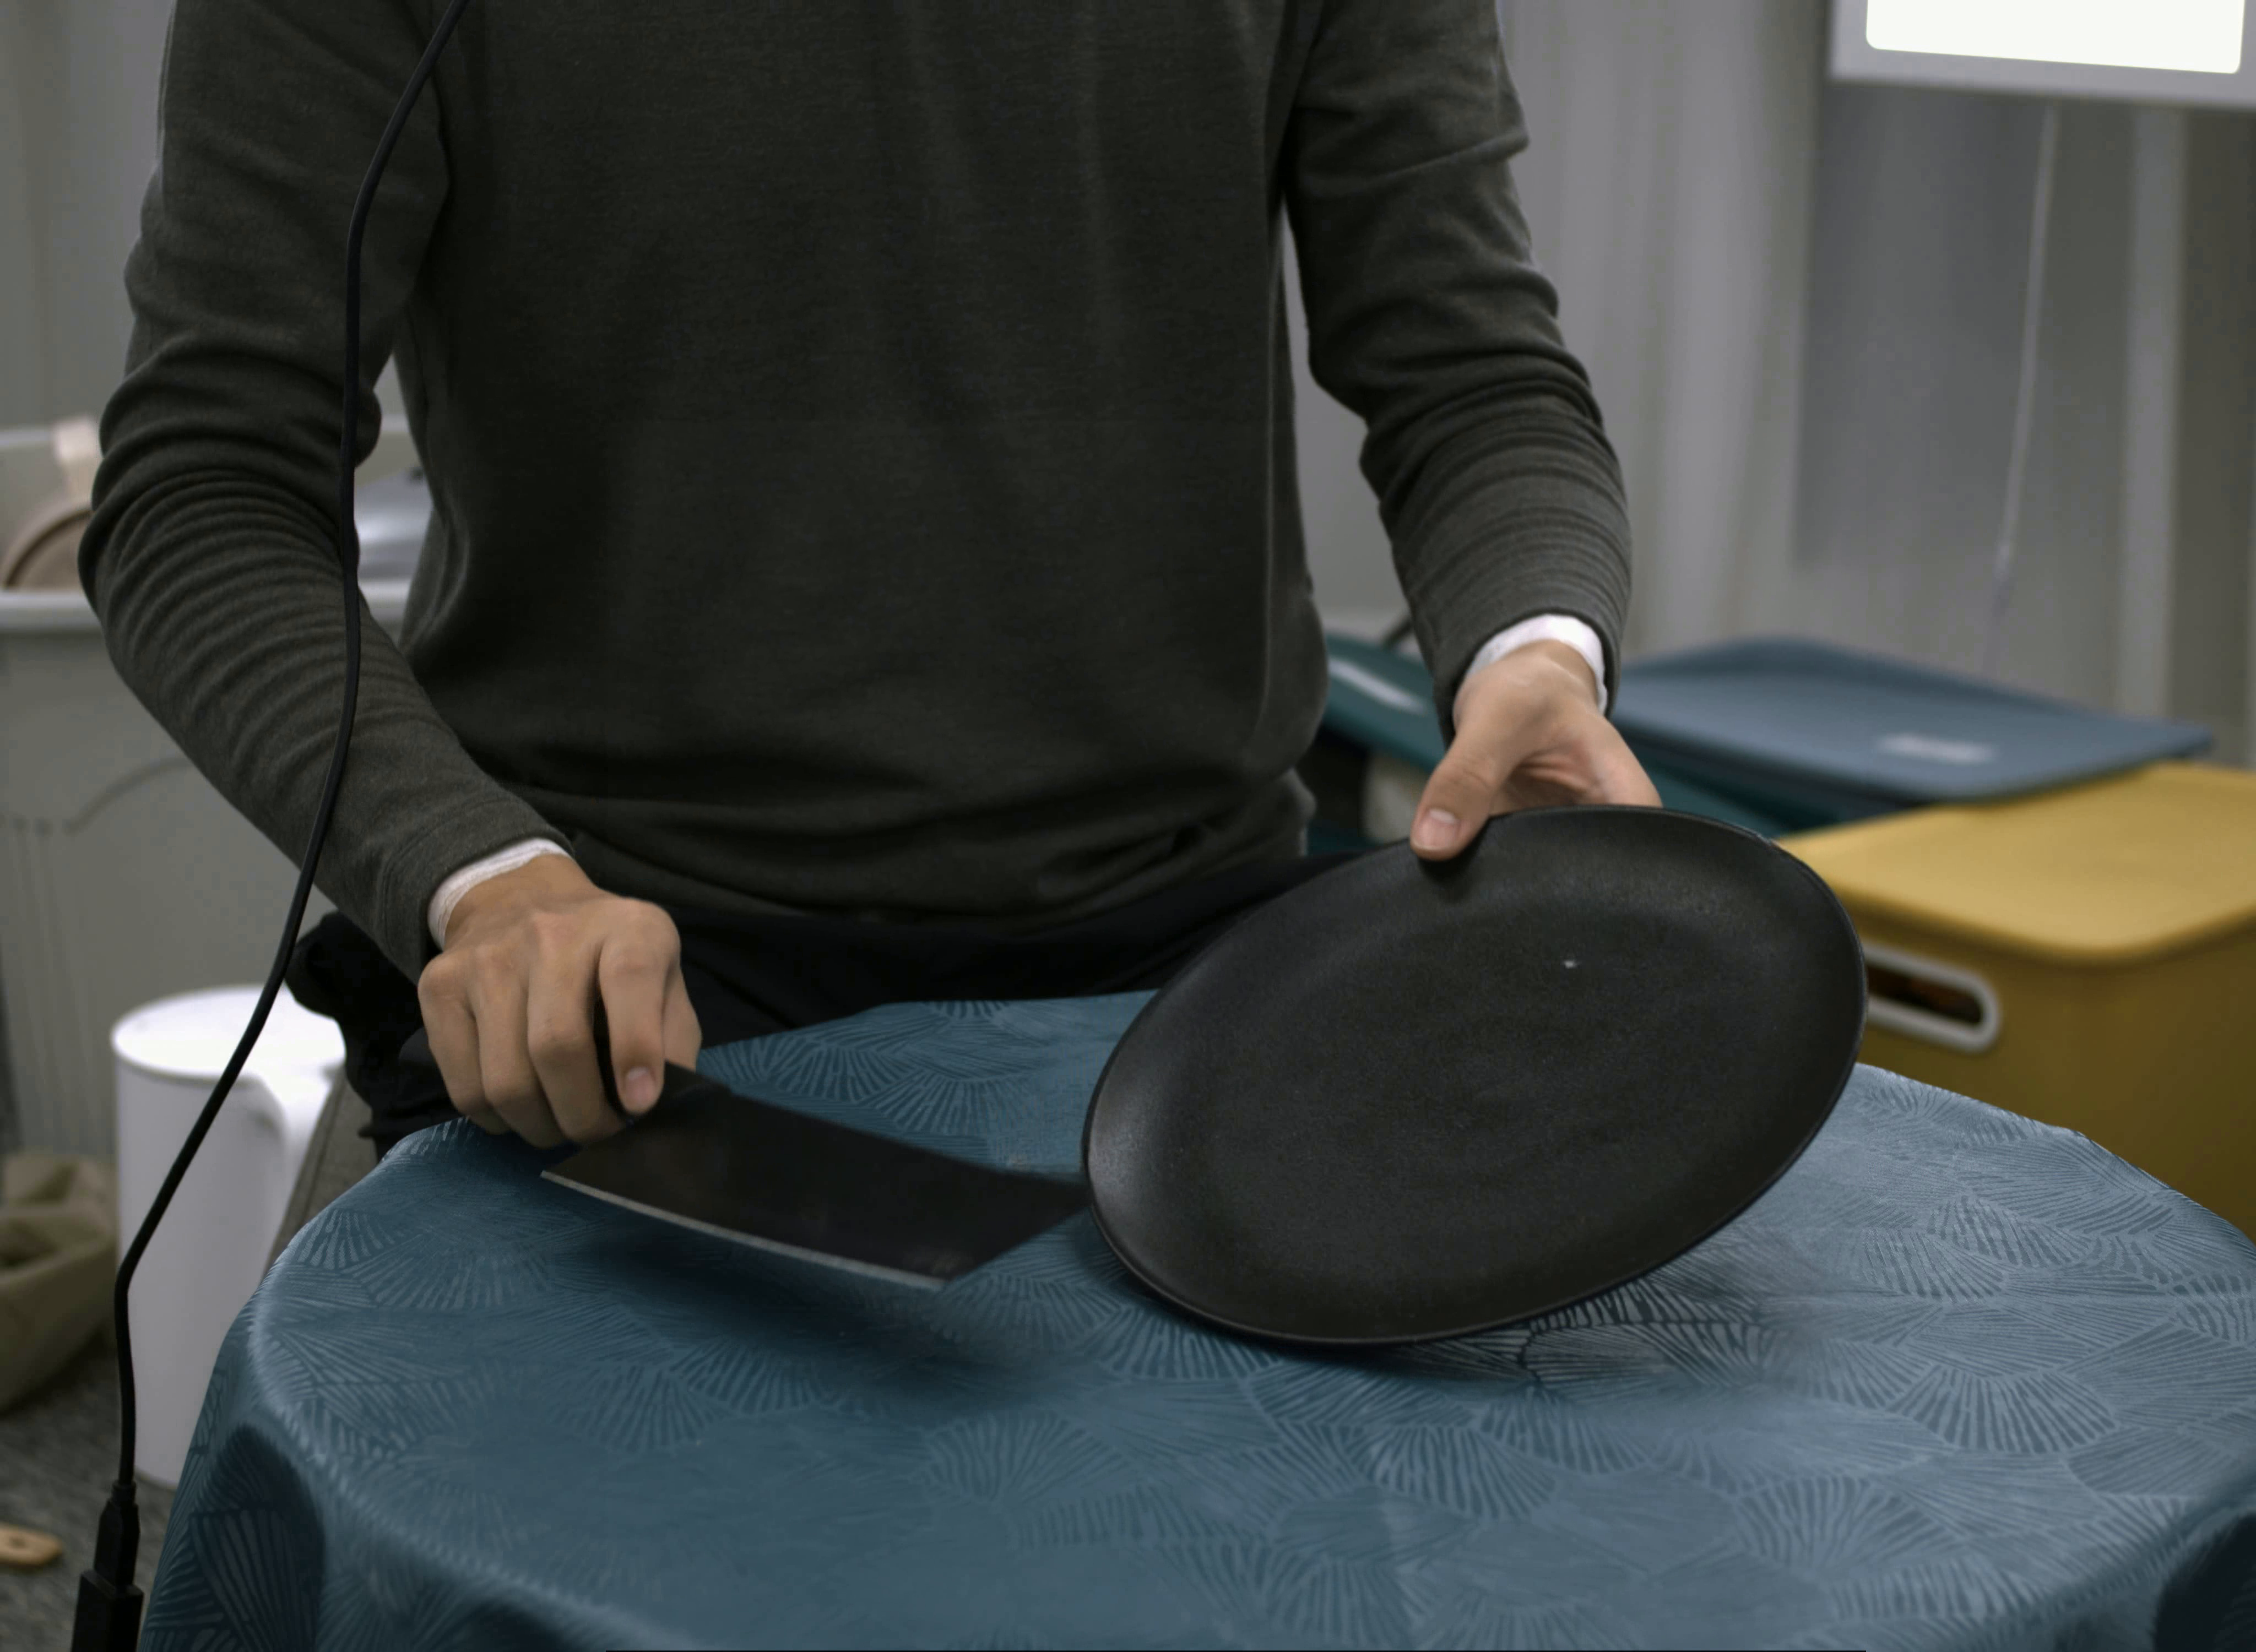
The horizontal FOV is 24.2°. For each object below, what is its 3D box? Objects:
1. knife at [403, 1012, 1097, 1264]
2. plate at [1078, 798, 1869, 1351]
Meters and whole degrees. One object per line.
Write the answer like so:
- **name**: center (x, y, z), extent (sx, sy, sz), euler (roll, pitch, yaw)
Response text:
- **knife**: center (-0.127, 0.092, 1.570), extent (0.081, 0.021, 0.298), euler (-25, 24, -34)
- **plate**: center (0.103, 0.077, 1.568), extent (0.243, 0.024, 0.242), euler (-14, 35, 11)
